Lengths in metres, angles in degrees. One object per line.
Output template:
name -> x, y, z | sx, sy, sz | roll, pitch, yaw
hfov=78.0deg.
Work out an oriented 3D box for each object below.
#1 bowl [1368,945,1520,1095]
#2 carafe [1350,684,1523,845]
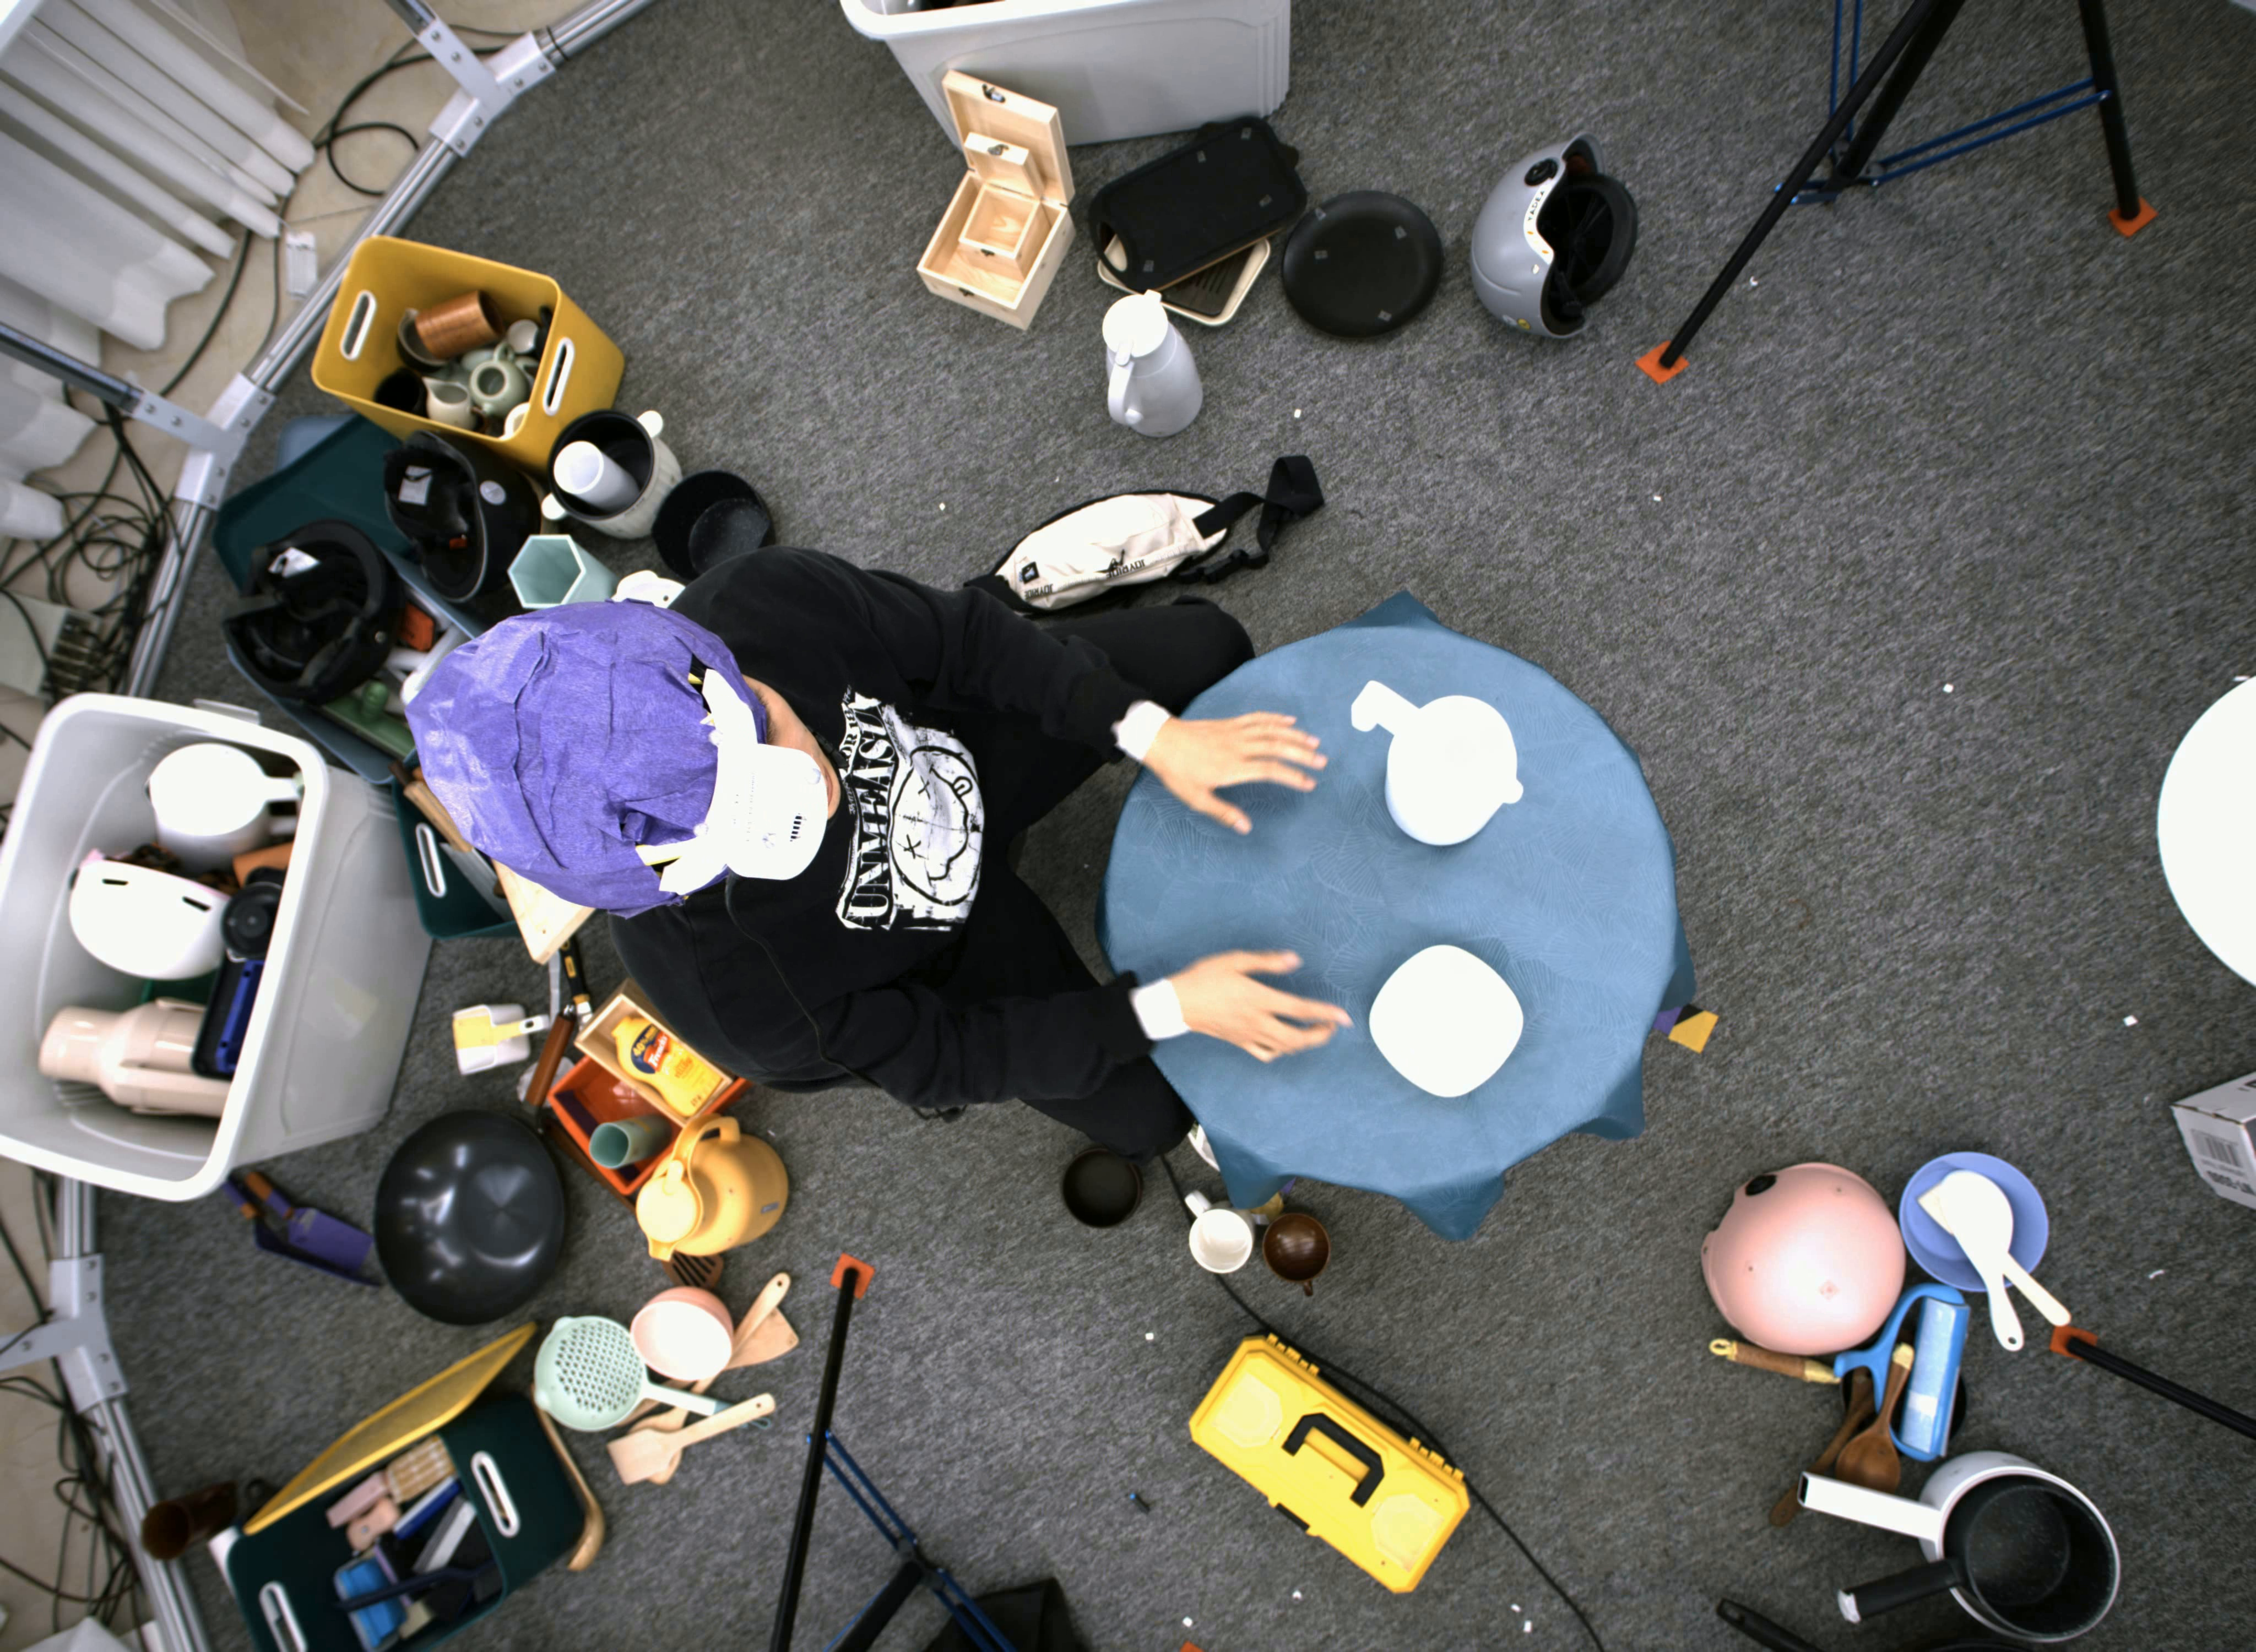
bowl -> 0.322, 0.196, 1.417 | 0.152, 0.058, 0.151 | -1, 87, 10
carafe -> 0.293, -0.061, 1.328 | 0.172, 0.268, 0.124 | 35, 93, 11
